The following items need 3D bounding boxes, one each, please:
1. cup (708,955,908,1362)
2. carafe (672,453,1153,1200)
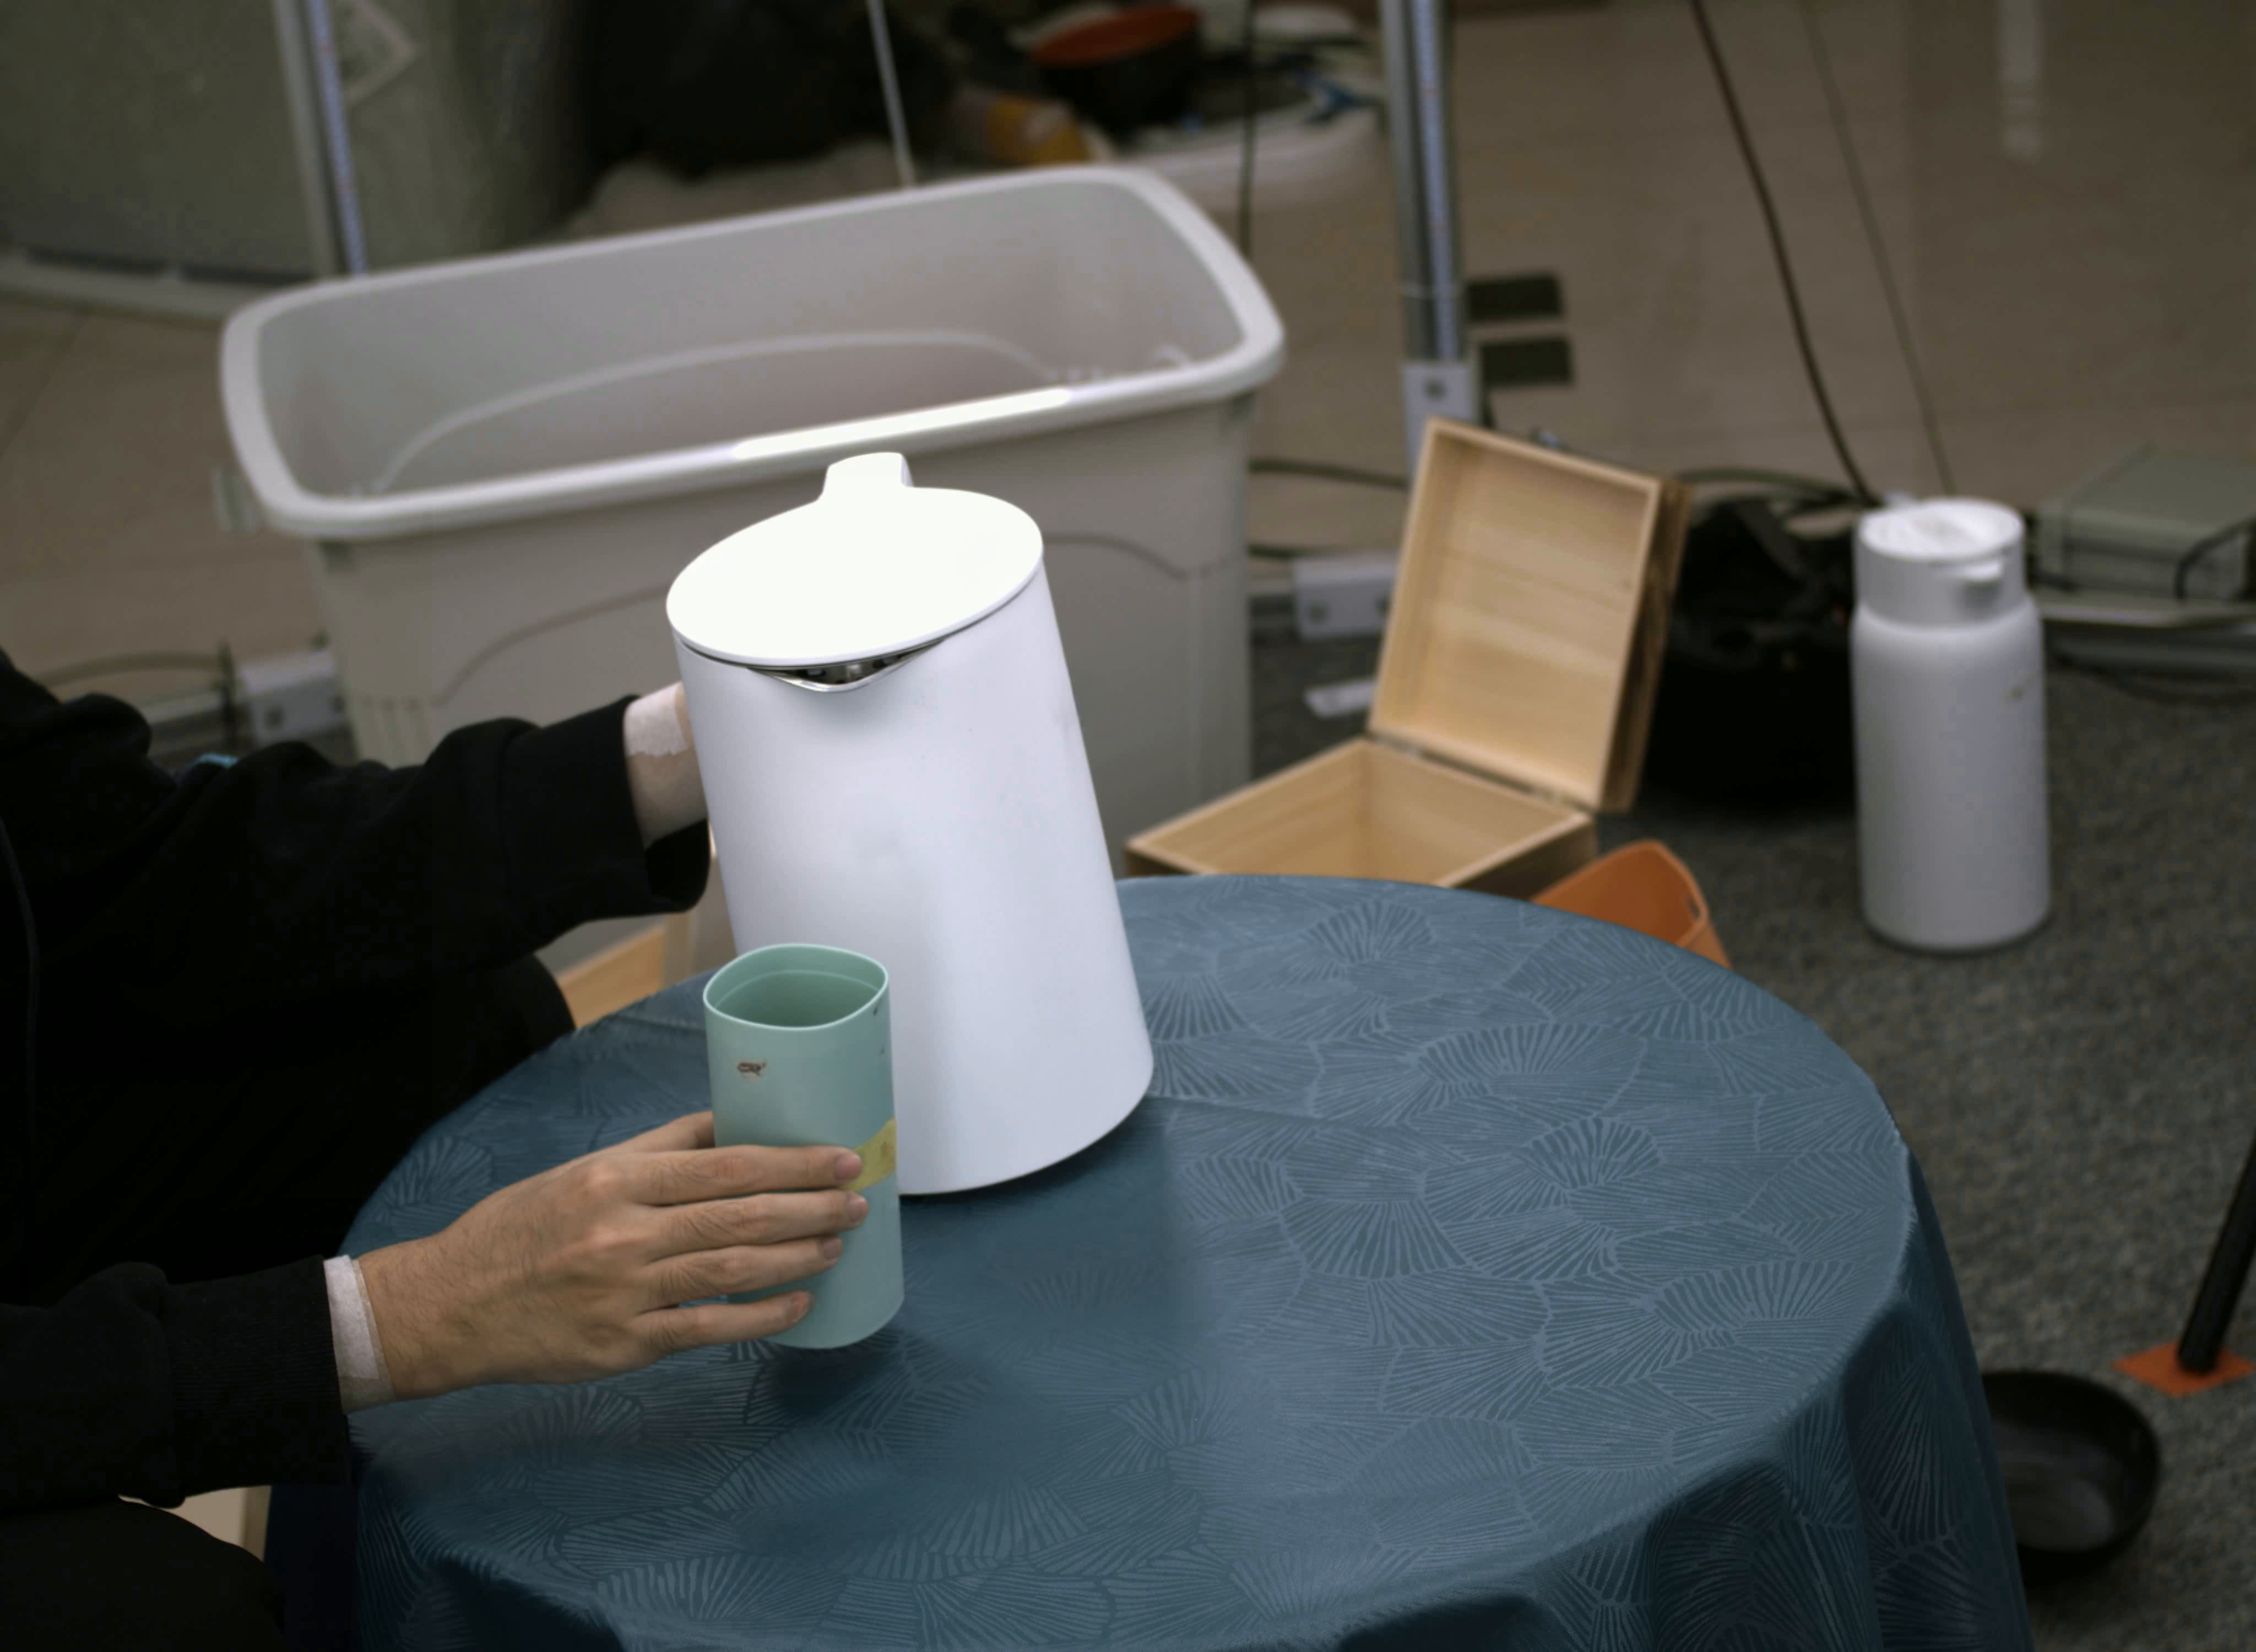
[{"bbox_3d":[-0.114,0.118,2.021,0.066,0.134,0.065,-1,28,1],"label":"cup"},{"bbox_3d":[-0.081,-0.007,2.178,0.152,0.244,0.210,-7,28,5],"label":"carafe"}]
